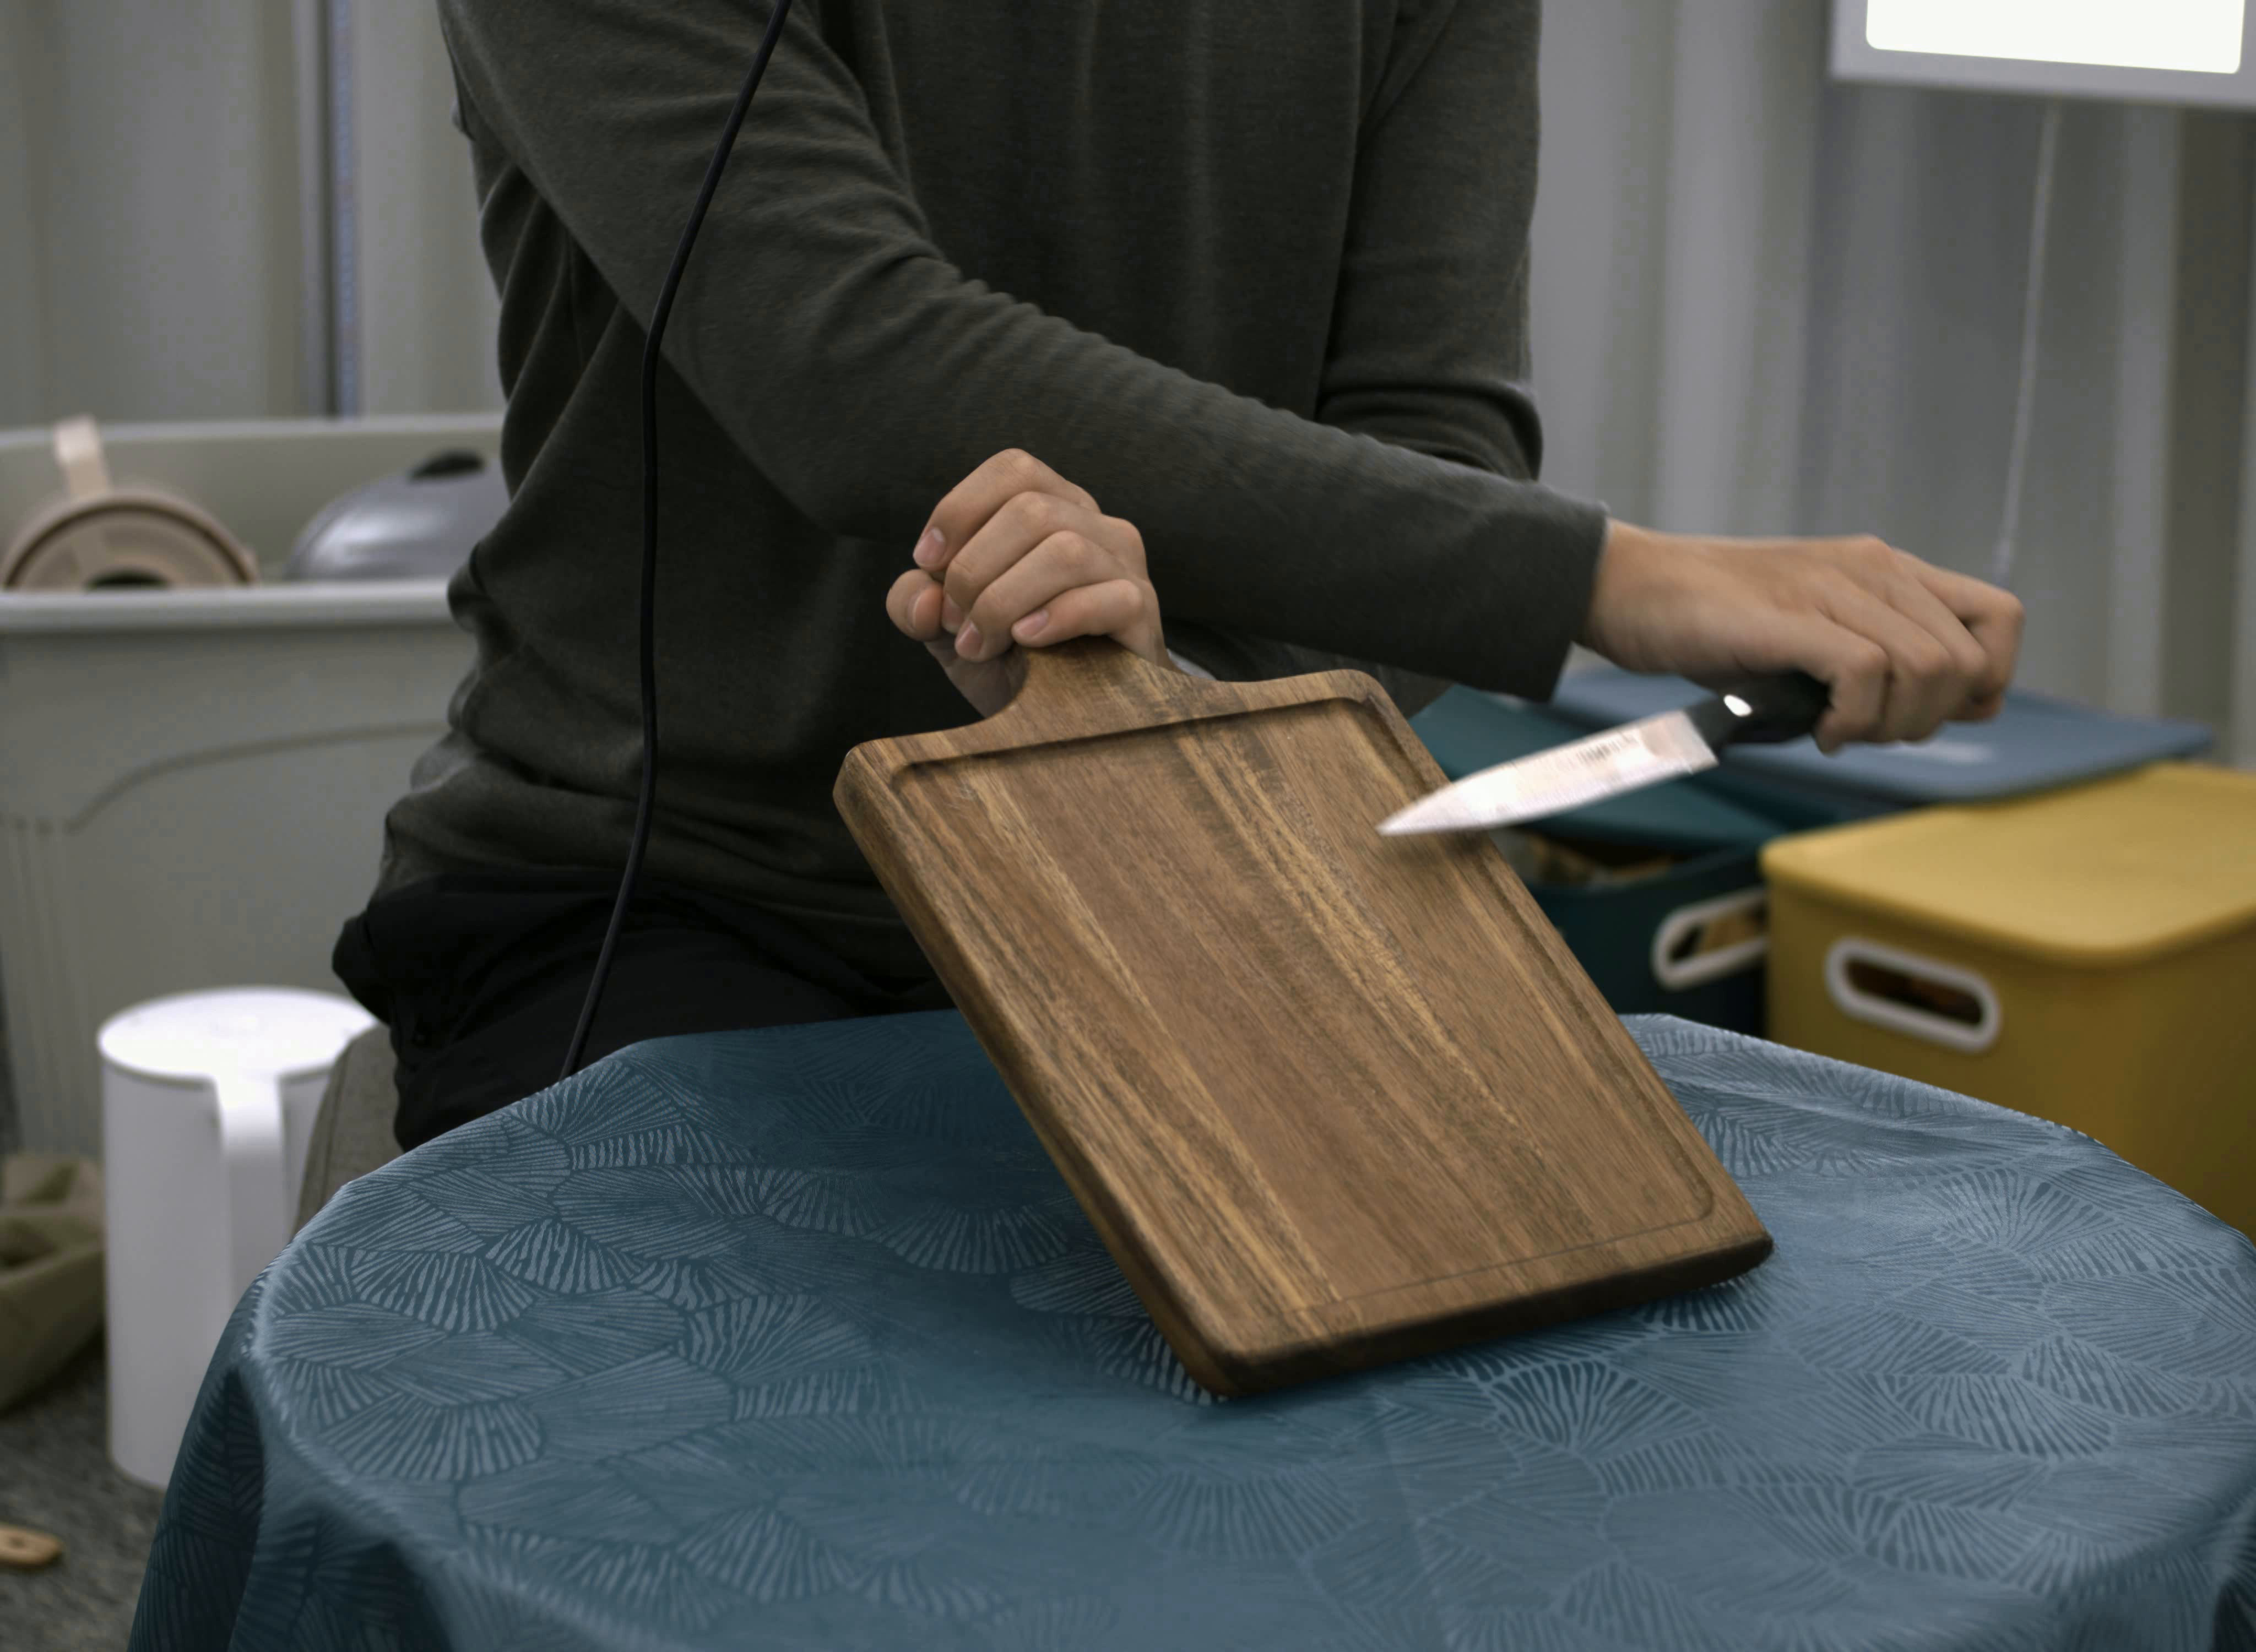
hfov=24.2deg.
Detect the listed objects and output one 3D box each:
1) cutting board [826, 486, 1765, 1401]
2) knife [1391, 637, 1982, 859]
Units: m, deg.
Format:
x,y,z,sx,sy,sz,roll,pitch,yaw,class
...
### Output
x,y,z,sx,sy,sz,roll,pitch,yaw,class
0.026,0.019,1.592,0.202,0.023,0.348,-10,50,-32,cutting board
0.177,-0.024,1.666,0.239,0.016,0.024,-18,53,-30,knife
